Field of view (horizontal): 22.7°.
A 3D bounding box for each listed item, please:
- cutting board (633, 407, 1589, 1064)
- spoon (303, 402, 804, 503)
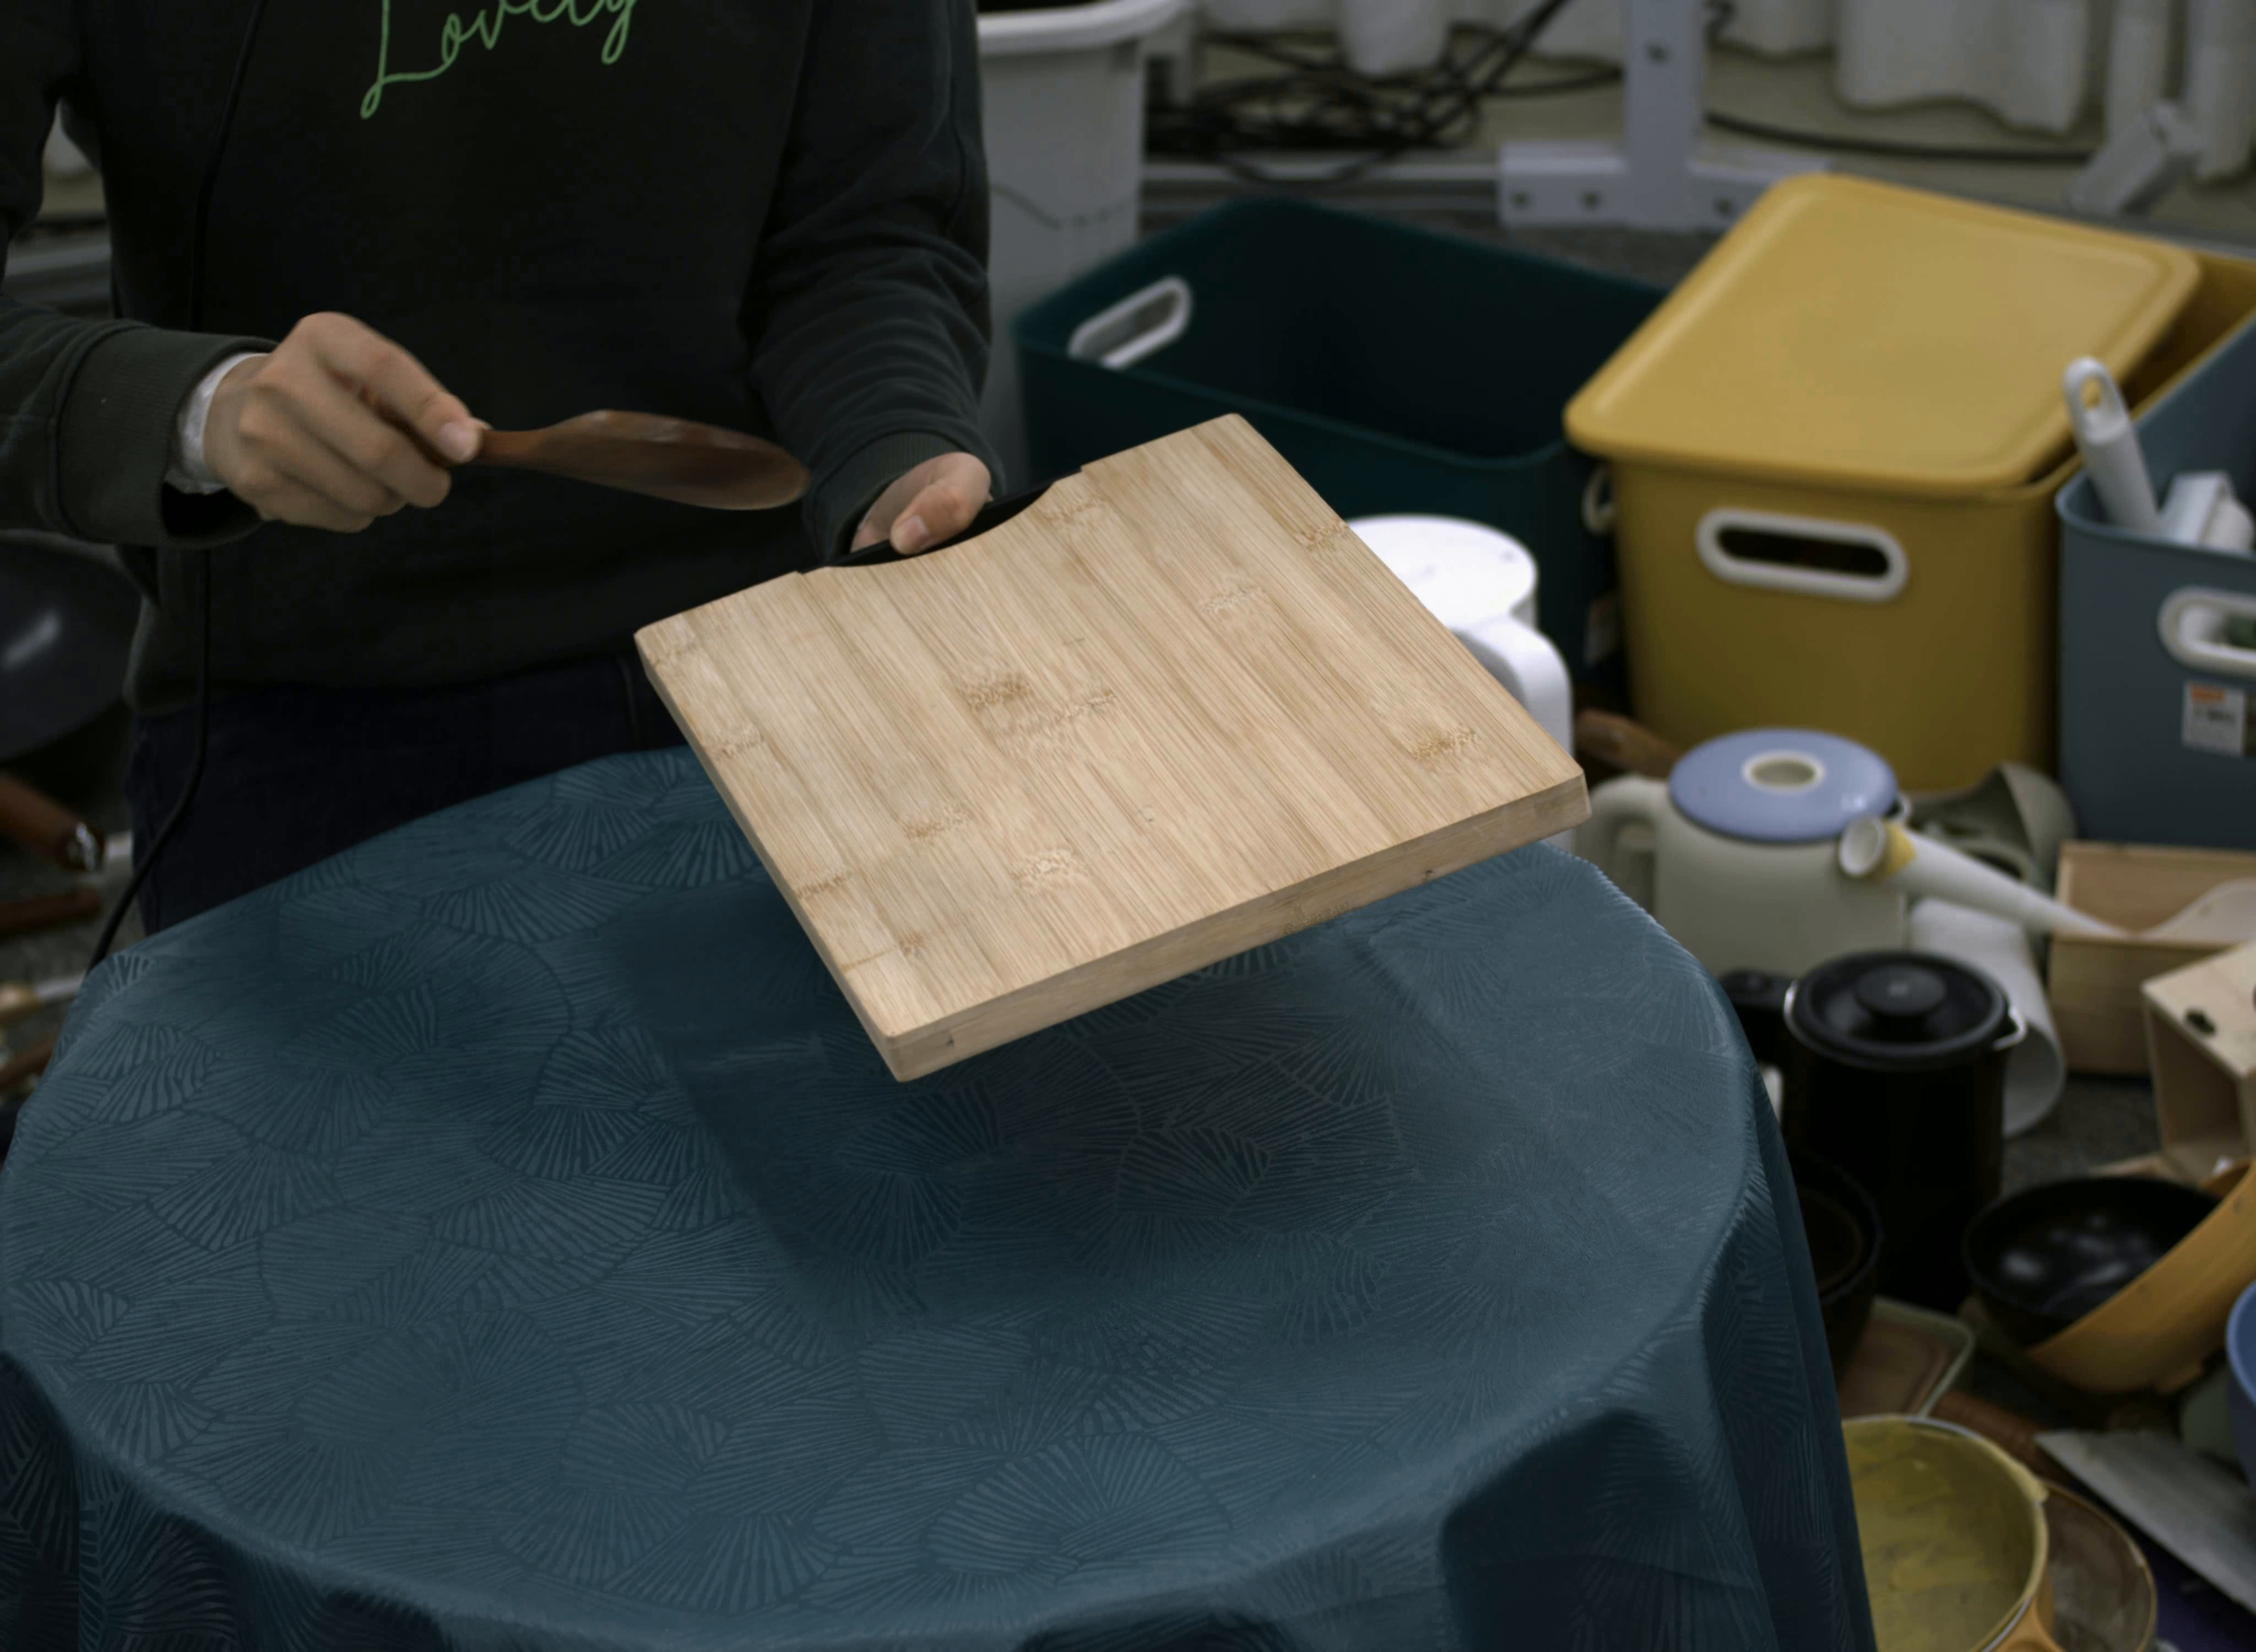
[{"bbox_3d":[-0.016,-0.038,1.917,0.251,0.023,0.351,-20,28,-11],"label":"cutting board"},{"bbox_3d":[-0.194,-0.122,1.842,0.214,0.017,0.075,8,-5,40],"label":"spoon"}]
